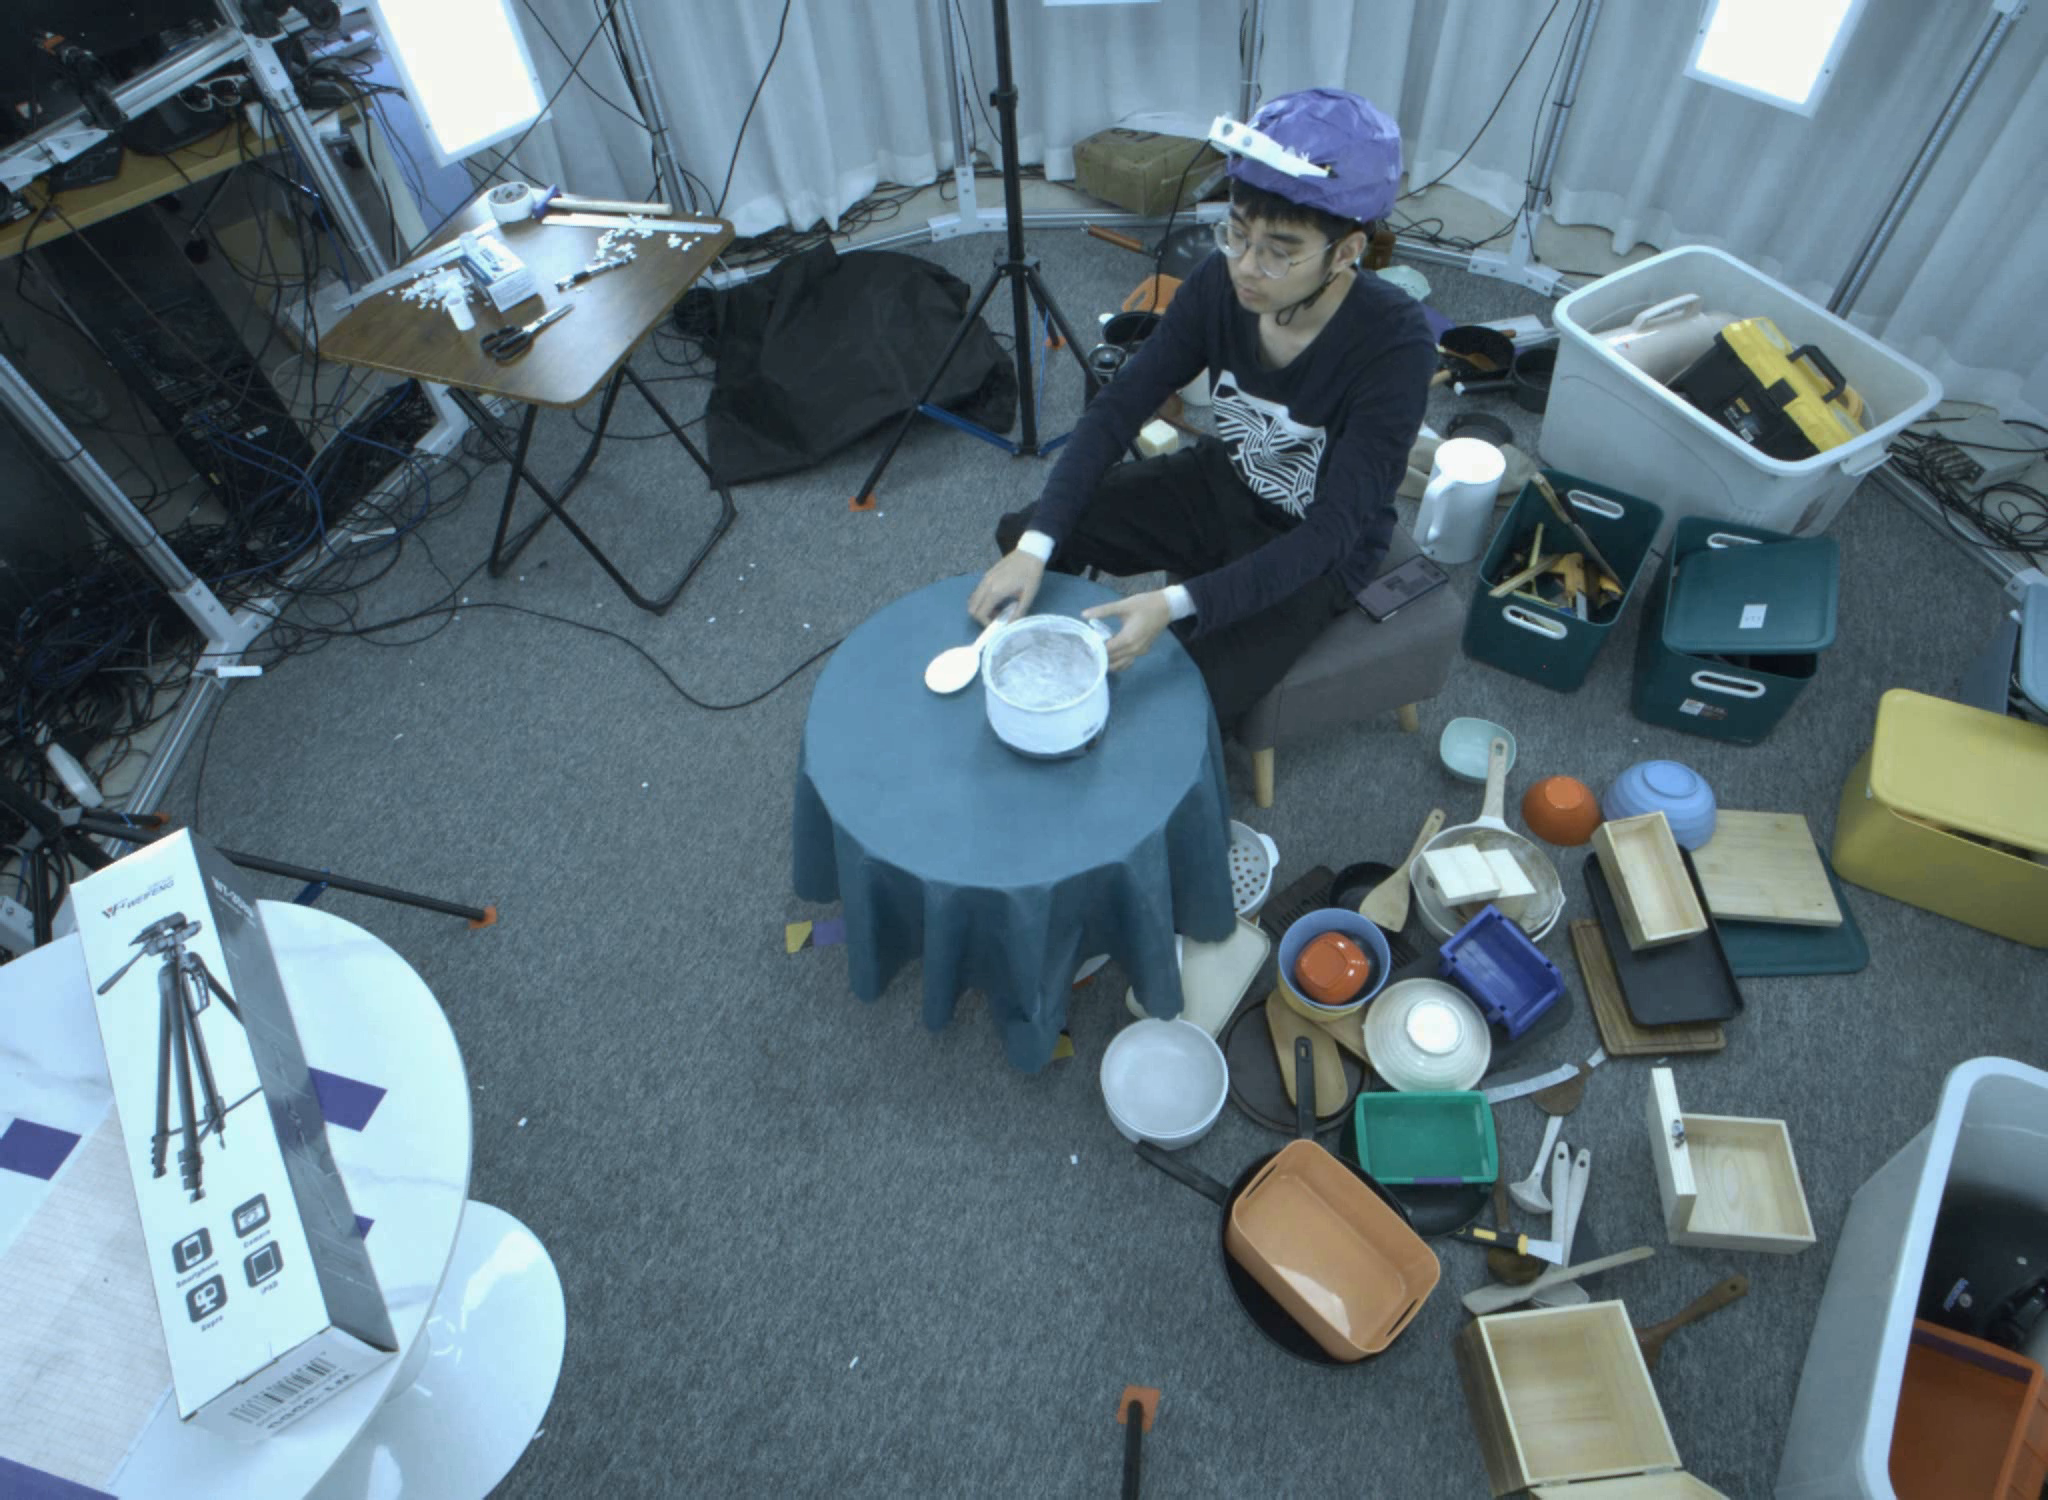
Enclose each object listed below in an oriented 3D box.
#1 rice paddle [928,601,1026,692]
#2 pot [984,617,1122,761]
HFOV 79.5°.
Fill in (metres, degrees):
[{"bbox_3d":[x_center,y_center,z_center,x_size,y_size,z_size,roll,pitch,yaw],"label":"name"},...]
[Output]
[{"bbox_3d":[-0.071,-0.159,1.893,0.067,0.030,0.206,32,60,22],"label":"rice paddle"},{"bbox_3d":[0.053,-0.100,1.785,0.176,0.138,0.235,39,63,24],"label":"pot"}]
